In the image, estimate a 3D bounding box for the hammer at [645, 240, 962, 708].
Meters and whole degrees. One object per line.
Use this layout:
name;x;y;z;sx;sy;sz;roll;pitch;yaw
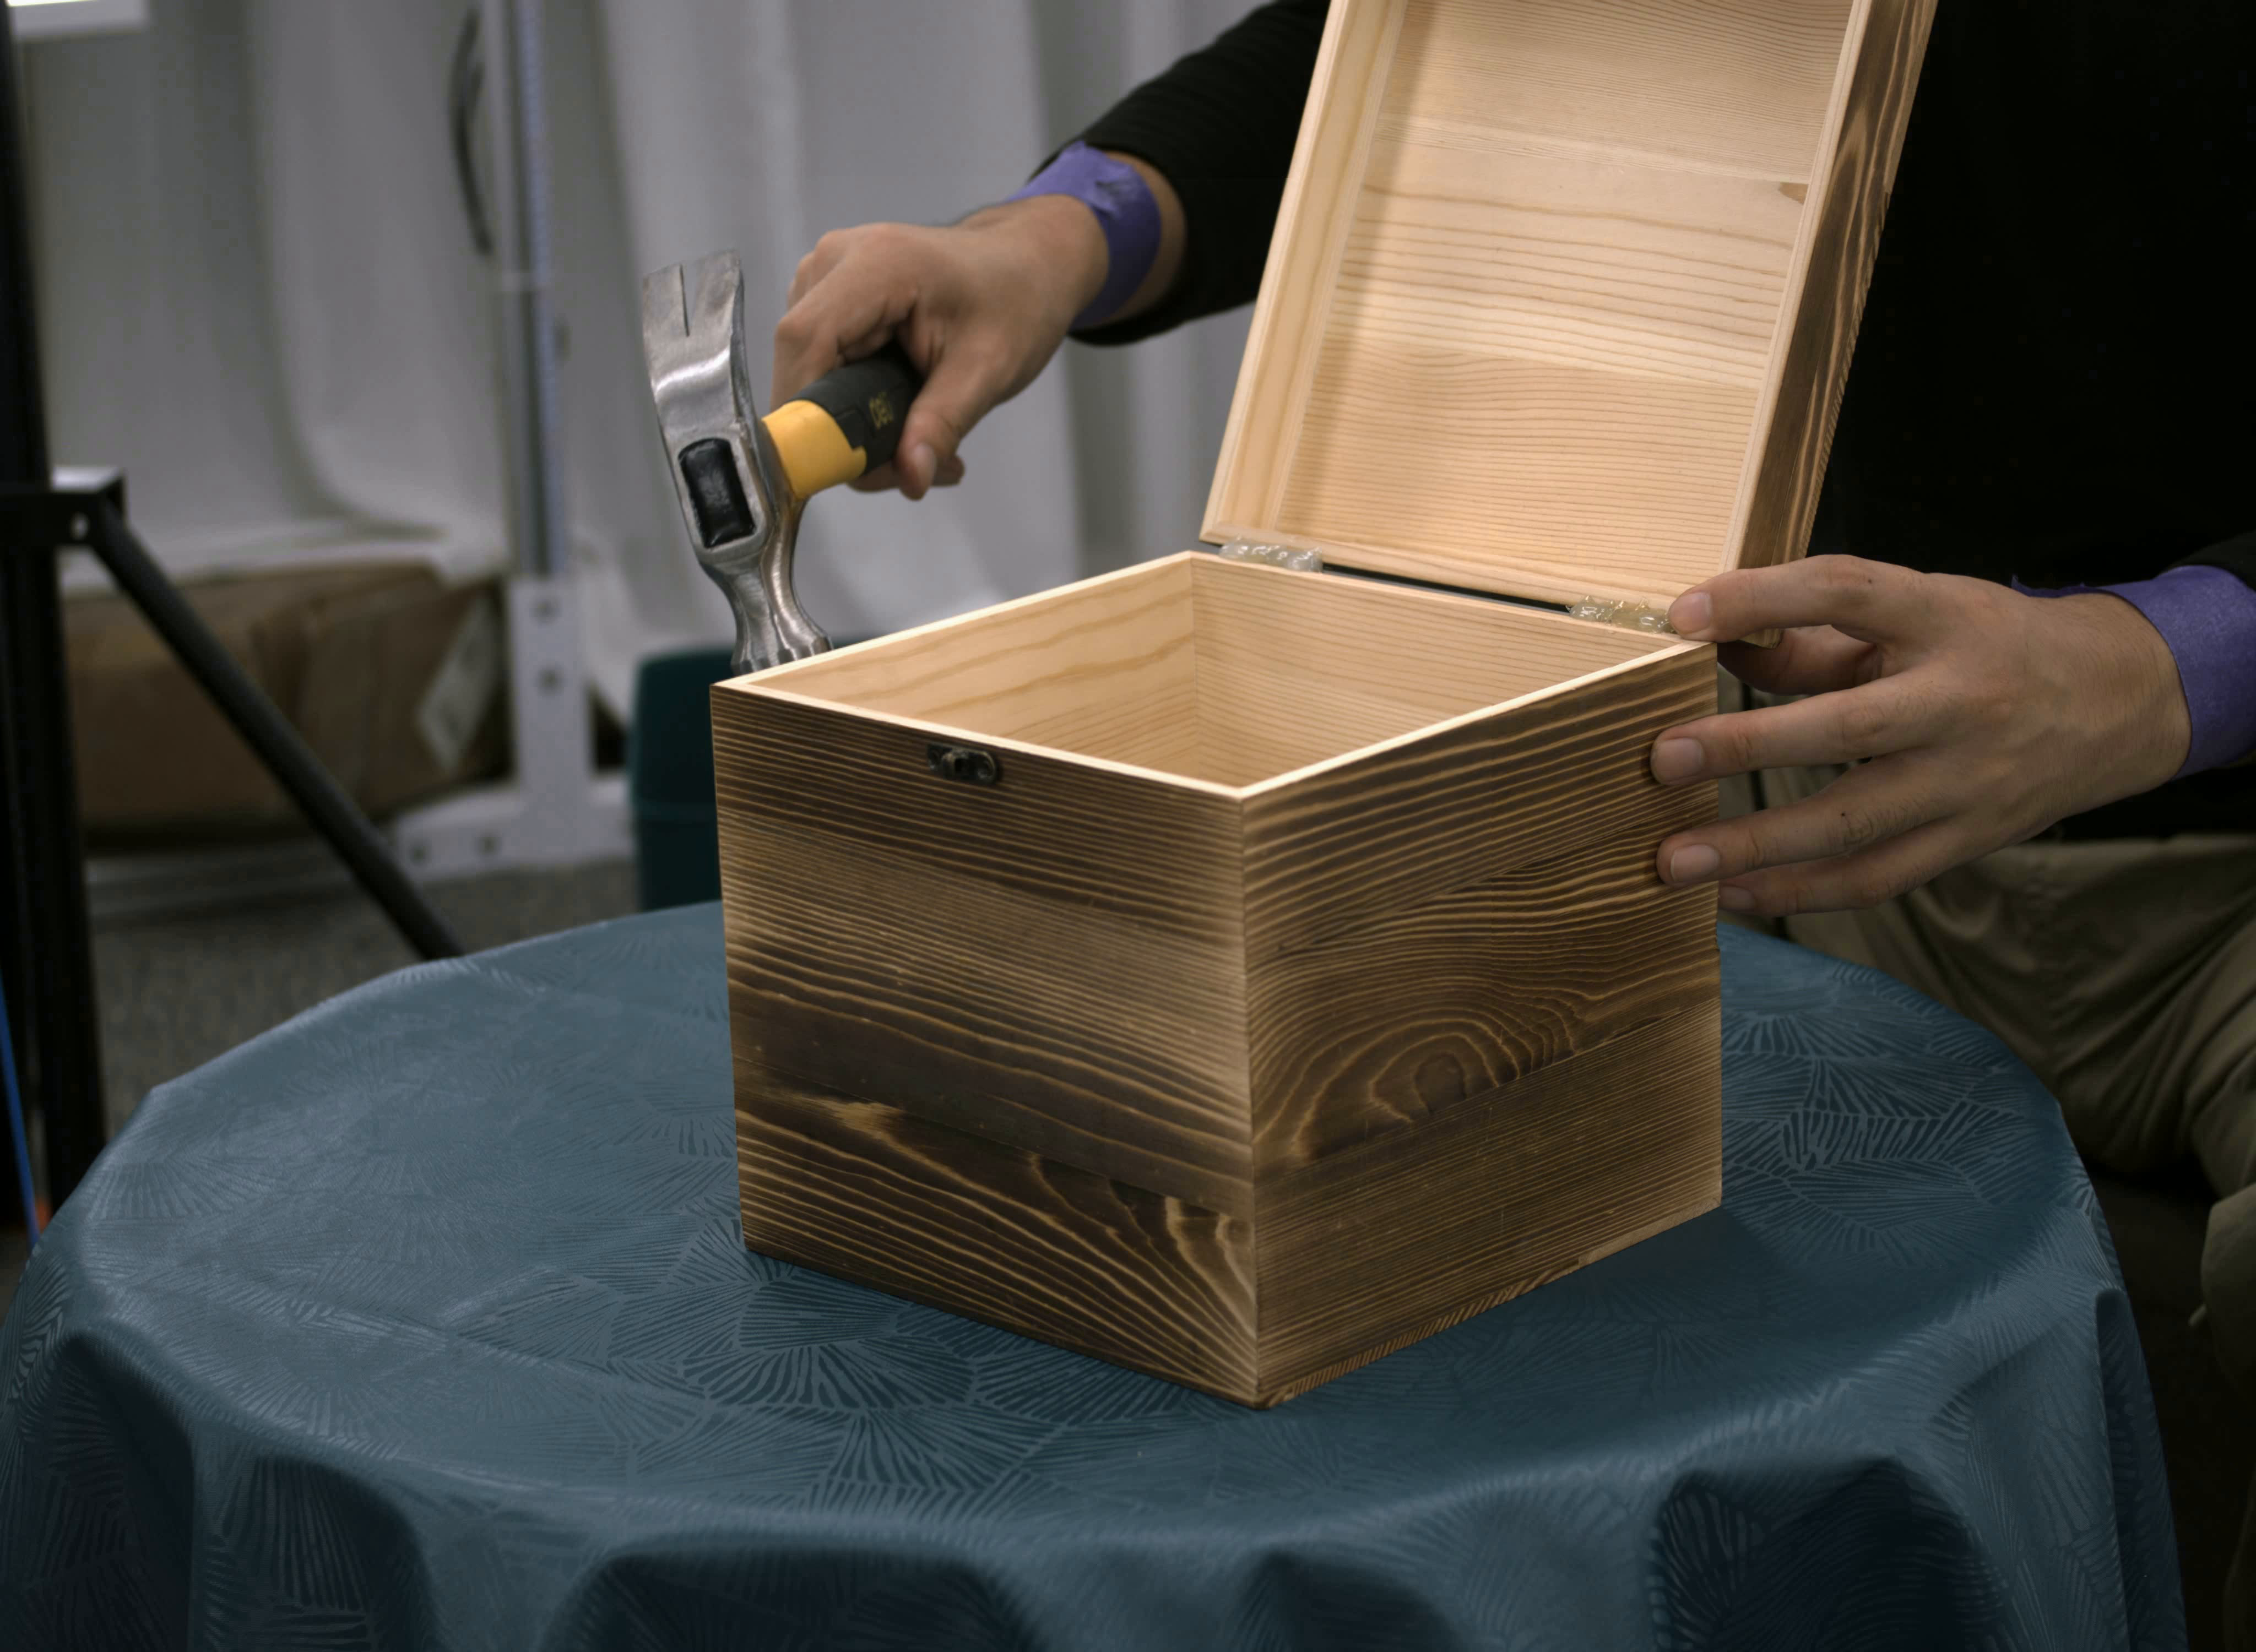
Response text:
hammer;-0.093;-0.124;1.689;0.032;0.131;0.337;-16;6;10

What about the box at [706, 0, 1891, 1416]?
box;0.058;-0.070;1.509;0.213;0.375;0.315;12;21;43
